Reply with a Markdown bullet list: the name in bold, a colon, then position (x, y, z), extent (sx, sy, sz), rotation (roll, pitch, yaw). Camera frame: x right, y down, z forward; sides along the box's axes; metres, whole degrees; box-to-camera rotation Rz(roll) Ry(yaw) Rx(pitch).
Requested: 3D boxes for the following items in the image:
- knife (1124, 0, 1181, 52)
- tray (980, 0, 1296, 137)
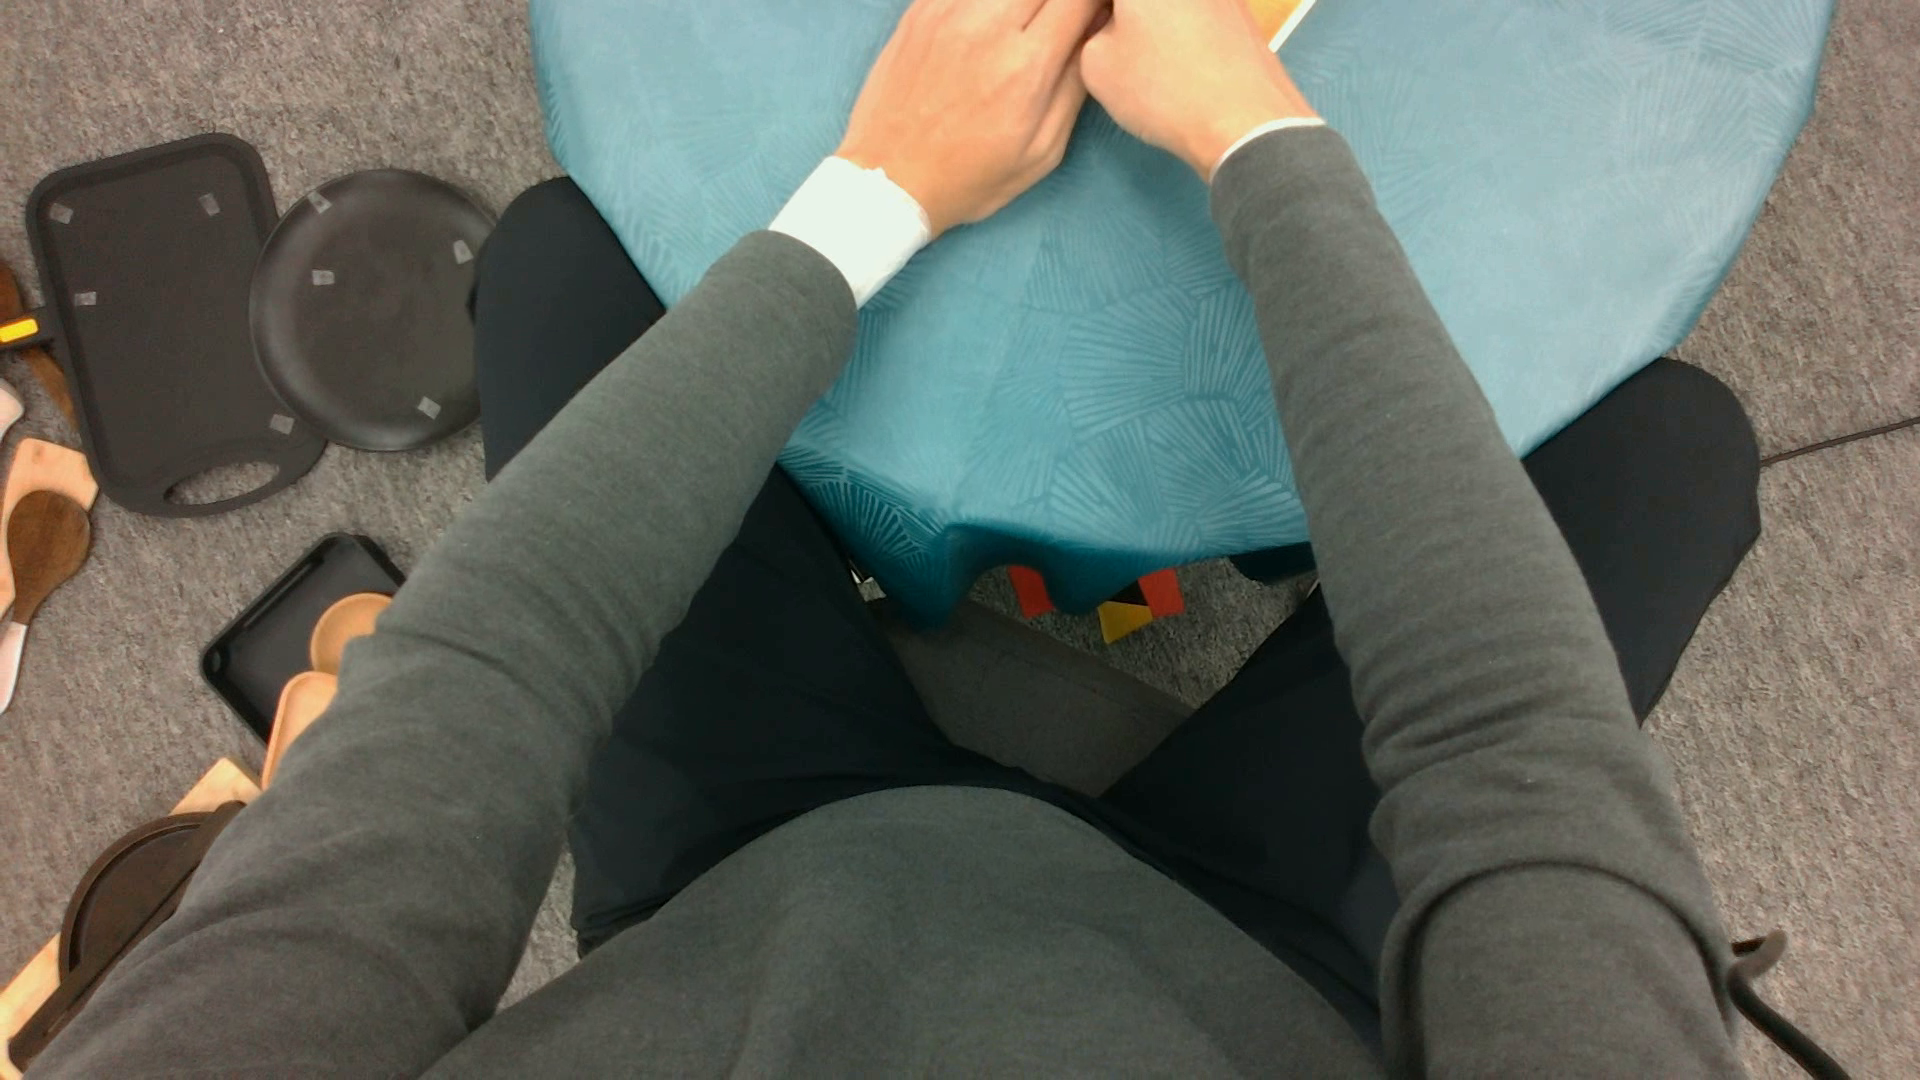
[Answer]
- **knife**: position (0.034, -0.321, 0.609), extent (0.016, 0.024, 0.238), rotation (-30, 86, 17)
- **tray**: position (0.040, -0.343, 0.619), extent (0.300, 0.027, 0.191), rotation (39, 93, 1)
